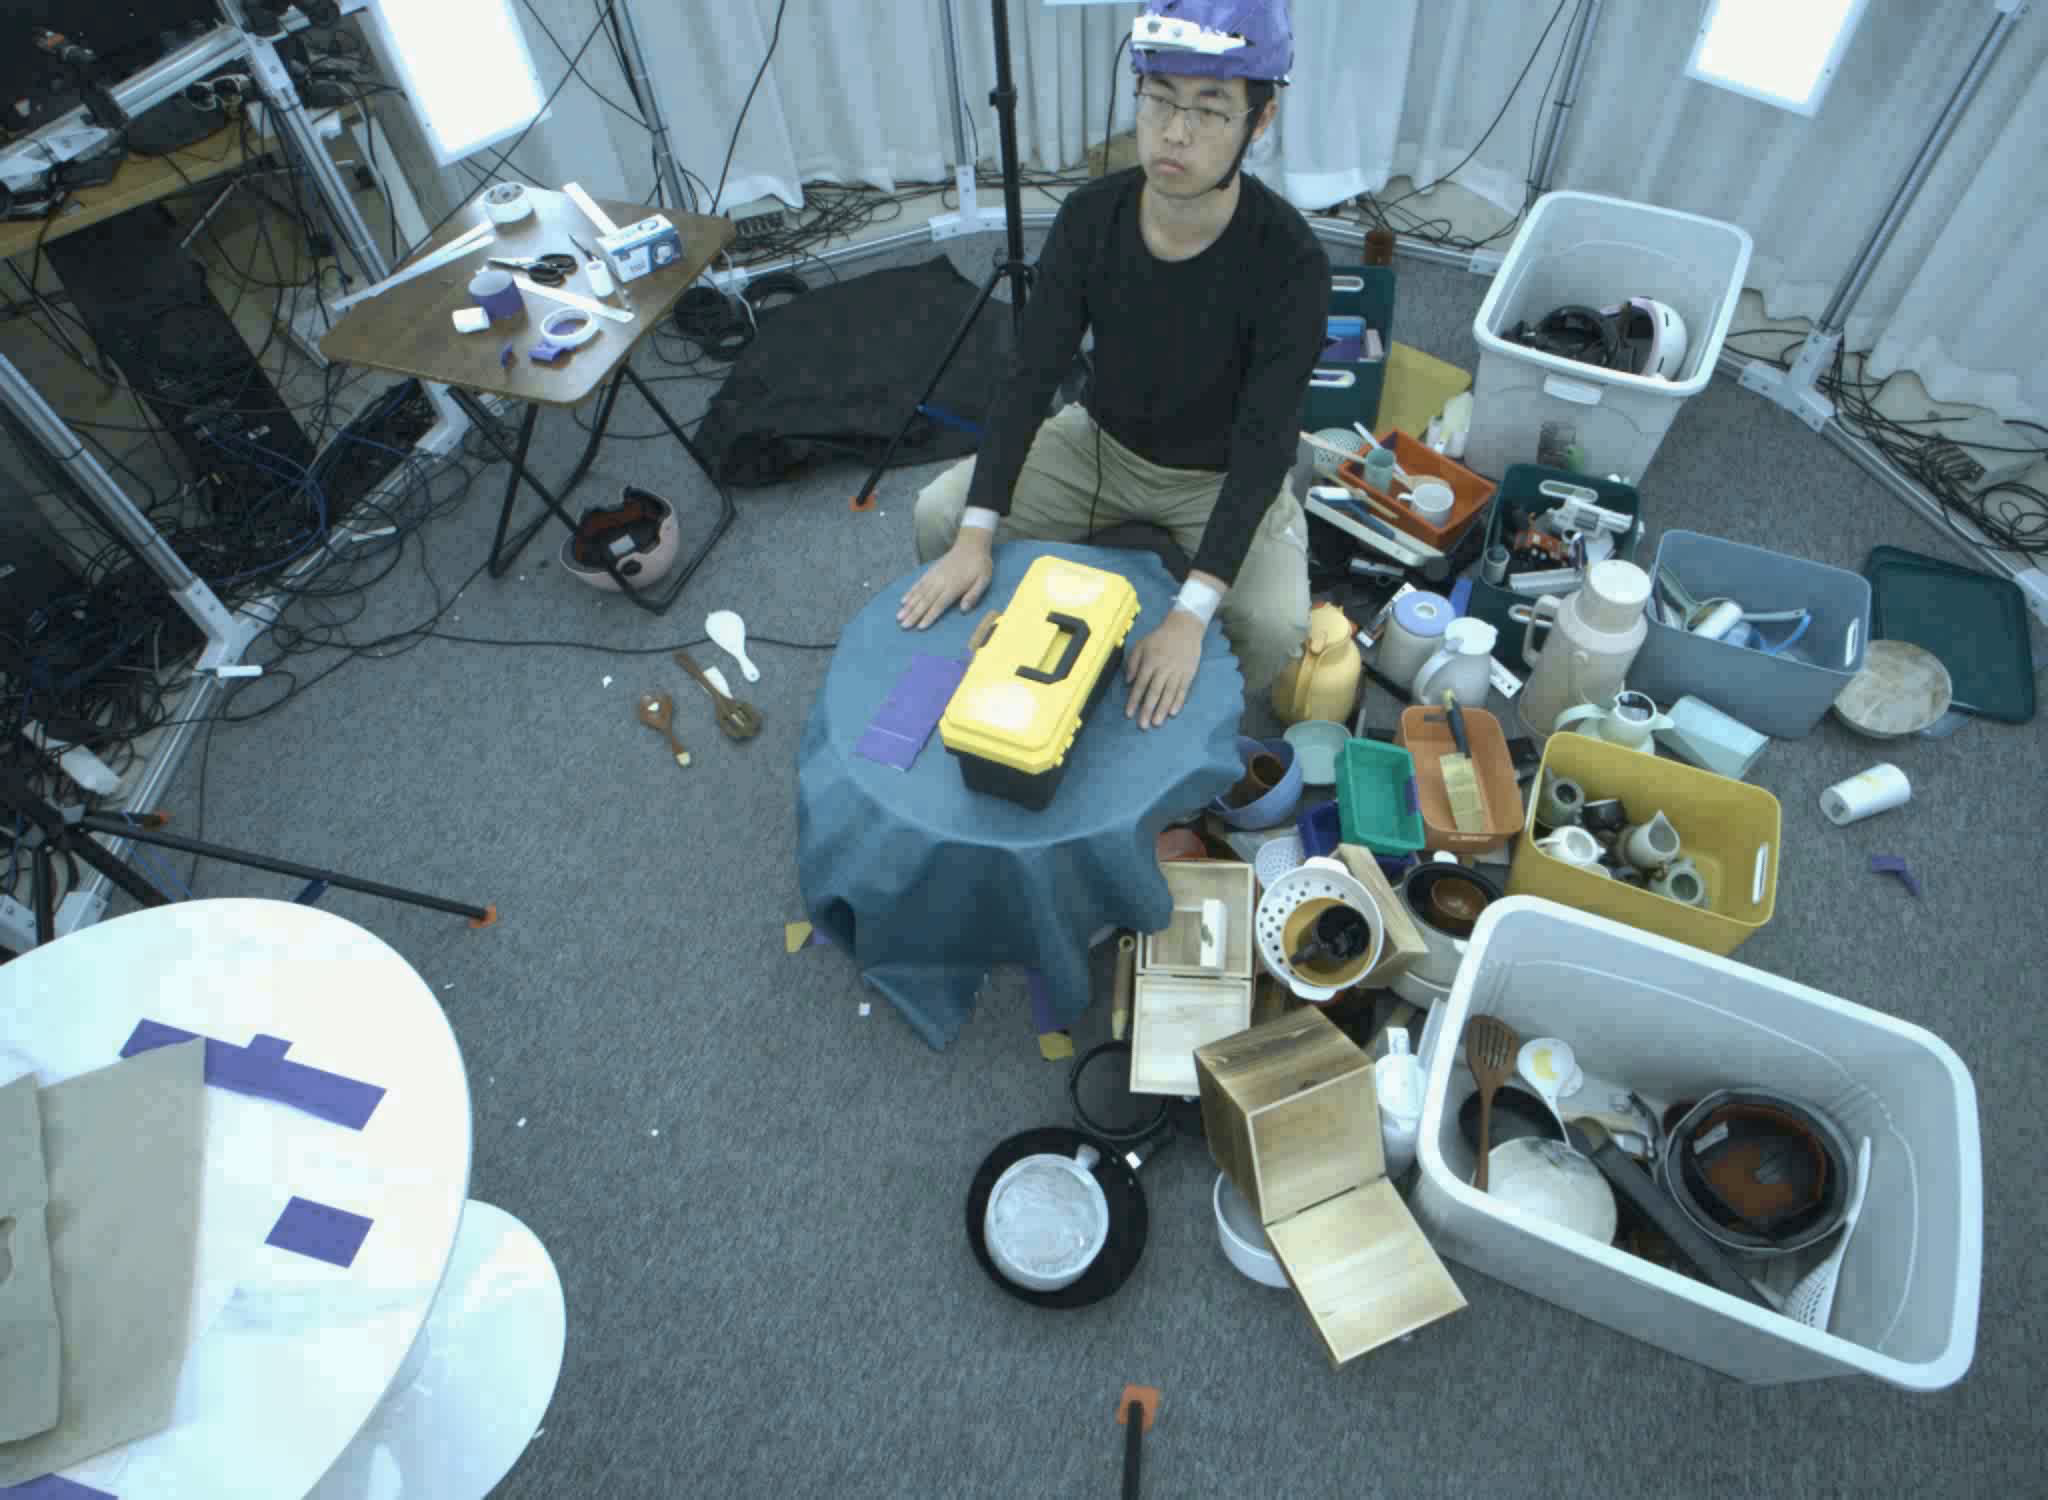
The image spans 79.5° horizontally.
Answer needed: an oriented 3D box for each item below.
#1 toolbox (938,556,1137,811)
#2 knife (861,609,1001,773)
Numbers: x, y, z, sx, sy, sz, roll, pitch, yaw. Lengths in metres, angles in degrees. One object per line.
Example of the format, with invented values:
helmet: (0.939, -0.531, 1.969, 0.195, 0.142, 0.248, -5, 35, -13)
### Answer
toolbox: (0.025, -0.096, 1.748, 0.179, 0.174, 0.351, 19, 57, 15)
knife: (-0.142, -0.102, 1.848, 0.102, 0.032, 0.315, 20, 59, 16)
